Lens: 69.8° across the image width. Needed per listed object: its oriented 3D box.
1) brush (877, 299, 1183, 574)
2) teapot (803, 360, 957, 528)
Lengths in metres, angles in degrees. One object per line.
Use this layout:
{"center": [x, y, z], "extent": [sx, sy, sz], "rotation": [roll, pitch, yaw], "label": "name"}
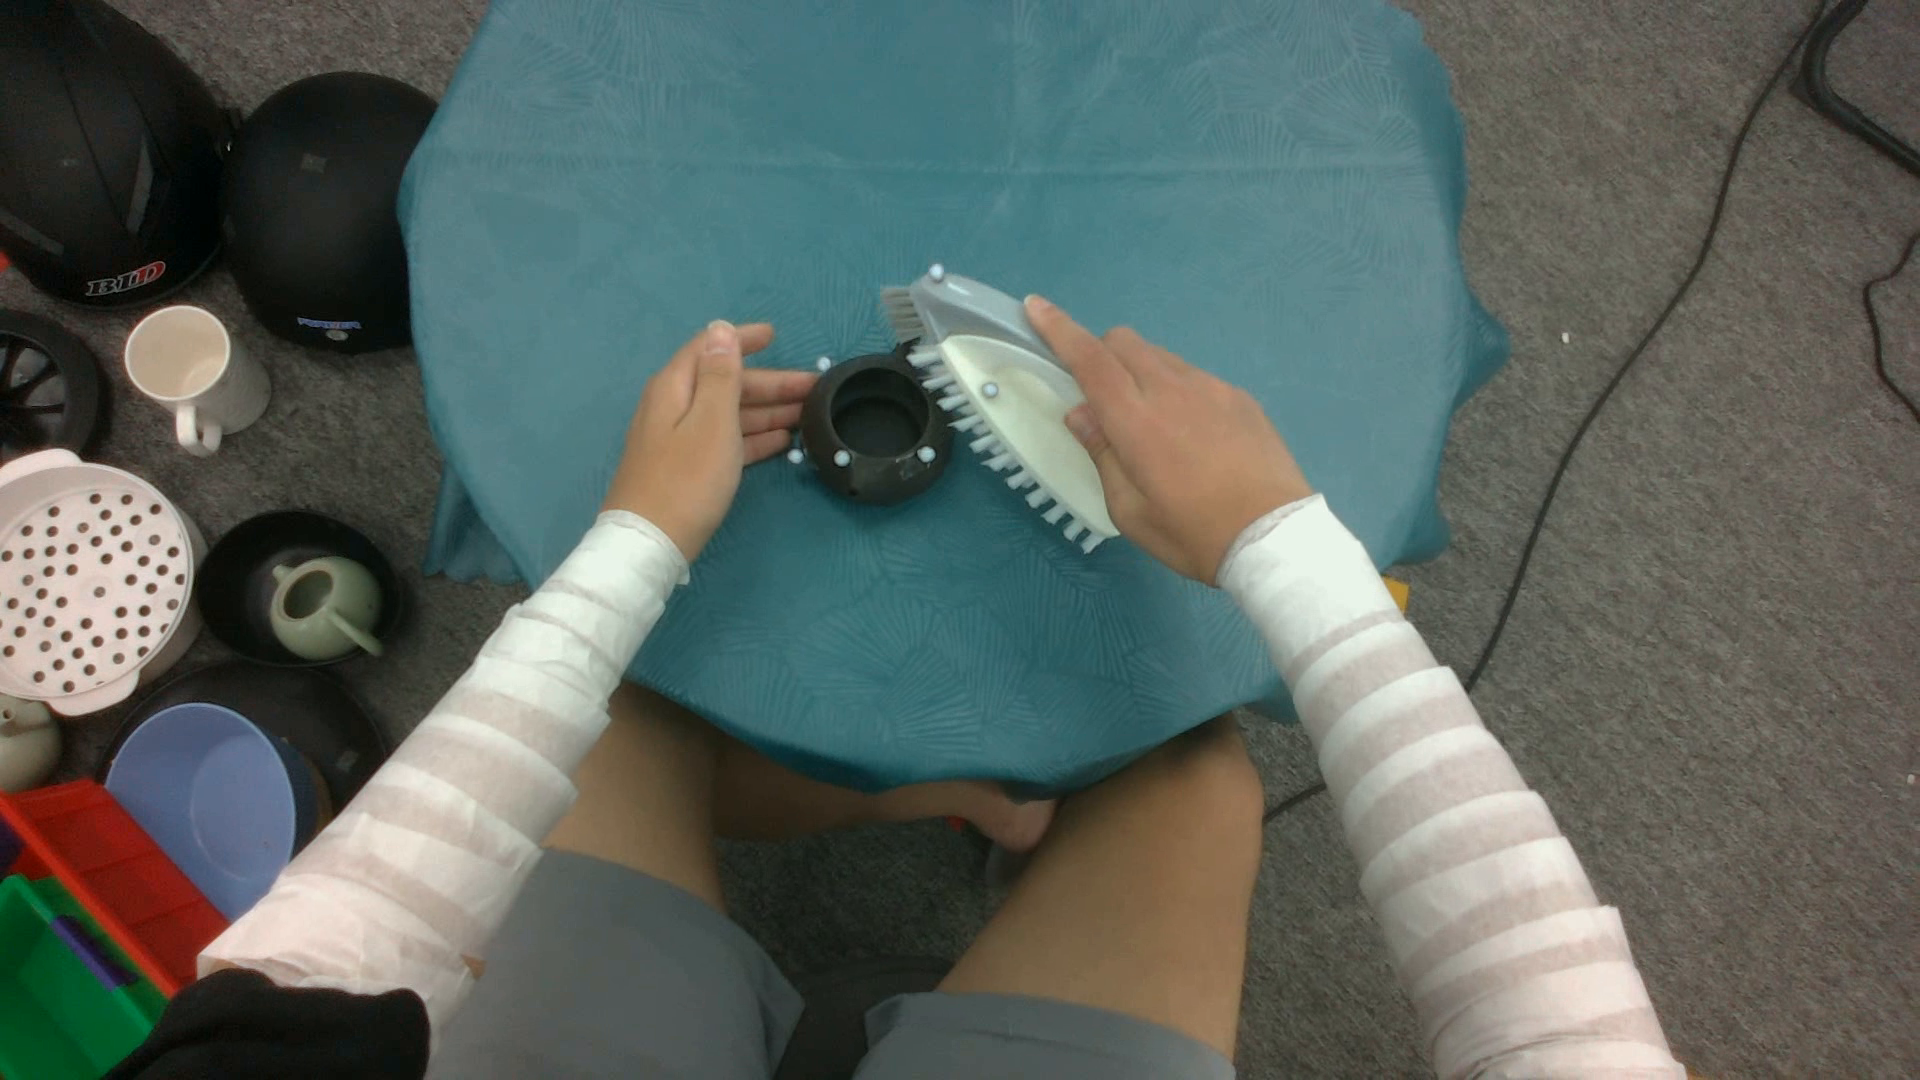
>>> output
{"center": [0.040, -0.065, 0.700], "extent": [0.175, 0.094, 0.062], "rotation": [42, 57, -9], "label": "brush"}
{"center": [-0.039, -0.059, 0.742], "extent": [0.083, 0.053, 0.114], "rotation": [18, 75, -1], "label": "teapot"}
